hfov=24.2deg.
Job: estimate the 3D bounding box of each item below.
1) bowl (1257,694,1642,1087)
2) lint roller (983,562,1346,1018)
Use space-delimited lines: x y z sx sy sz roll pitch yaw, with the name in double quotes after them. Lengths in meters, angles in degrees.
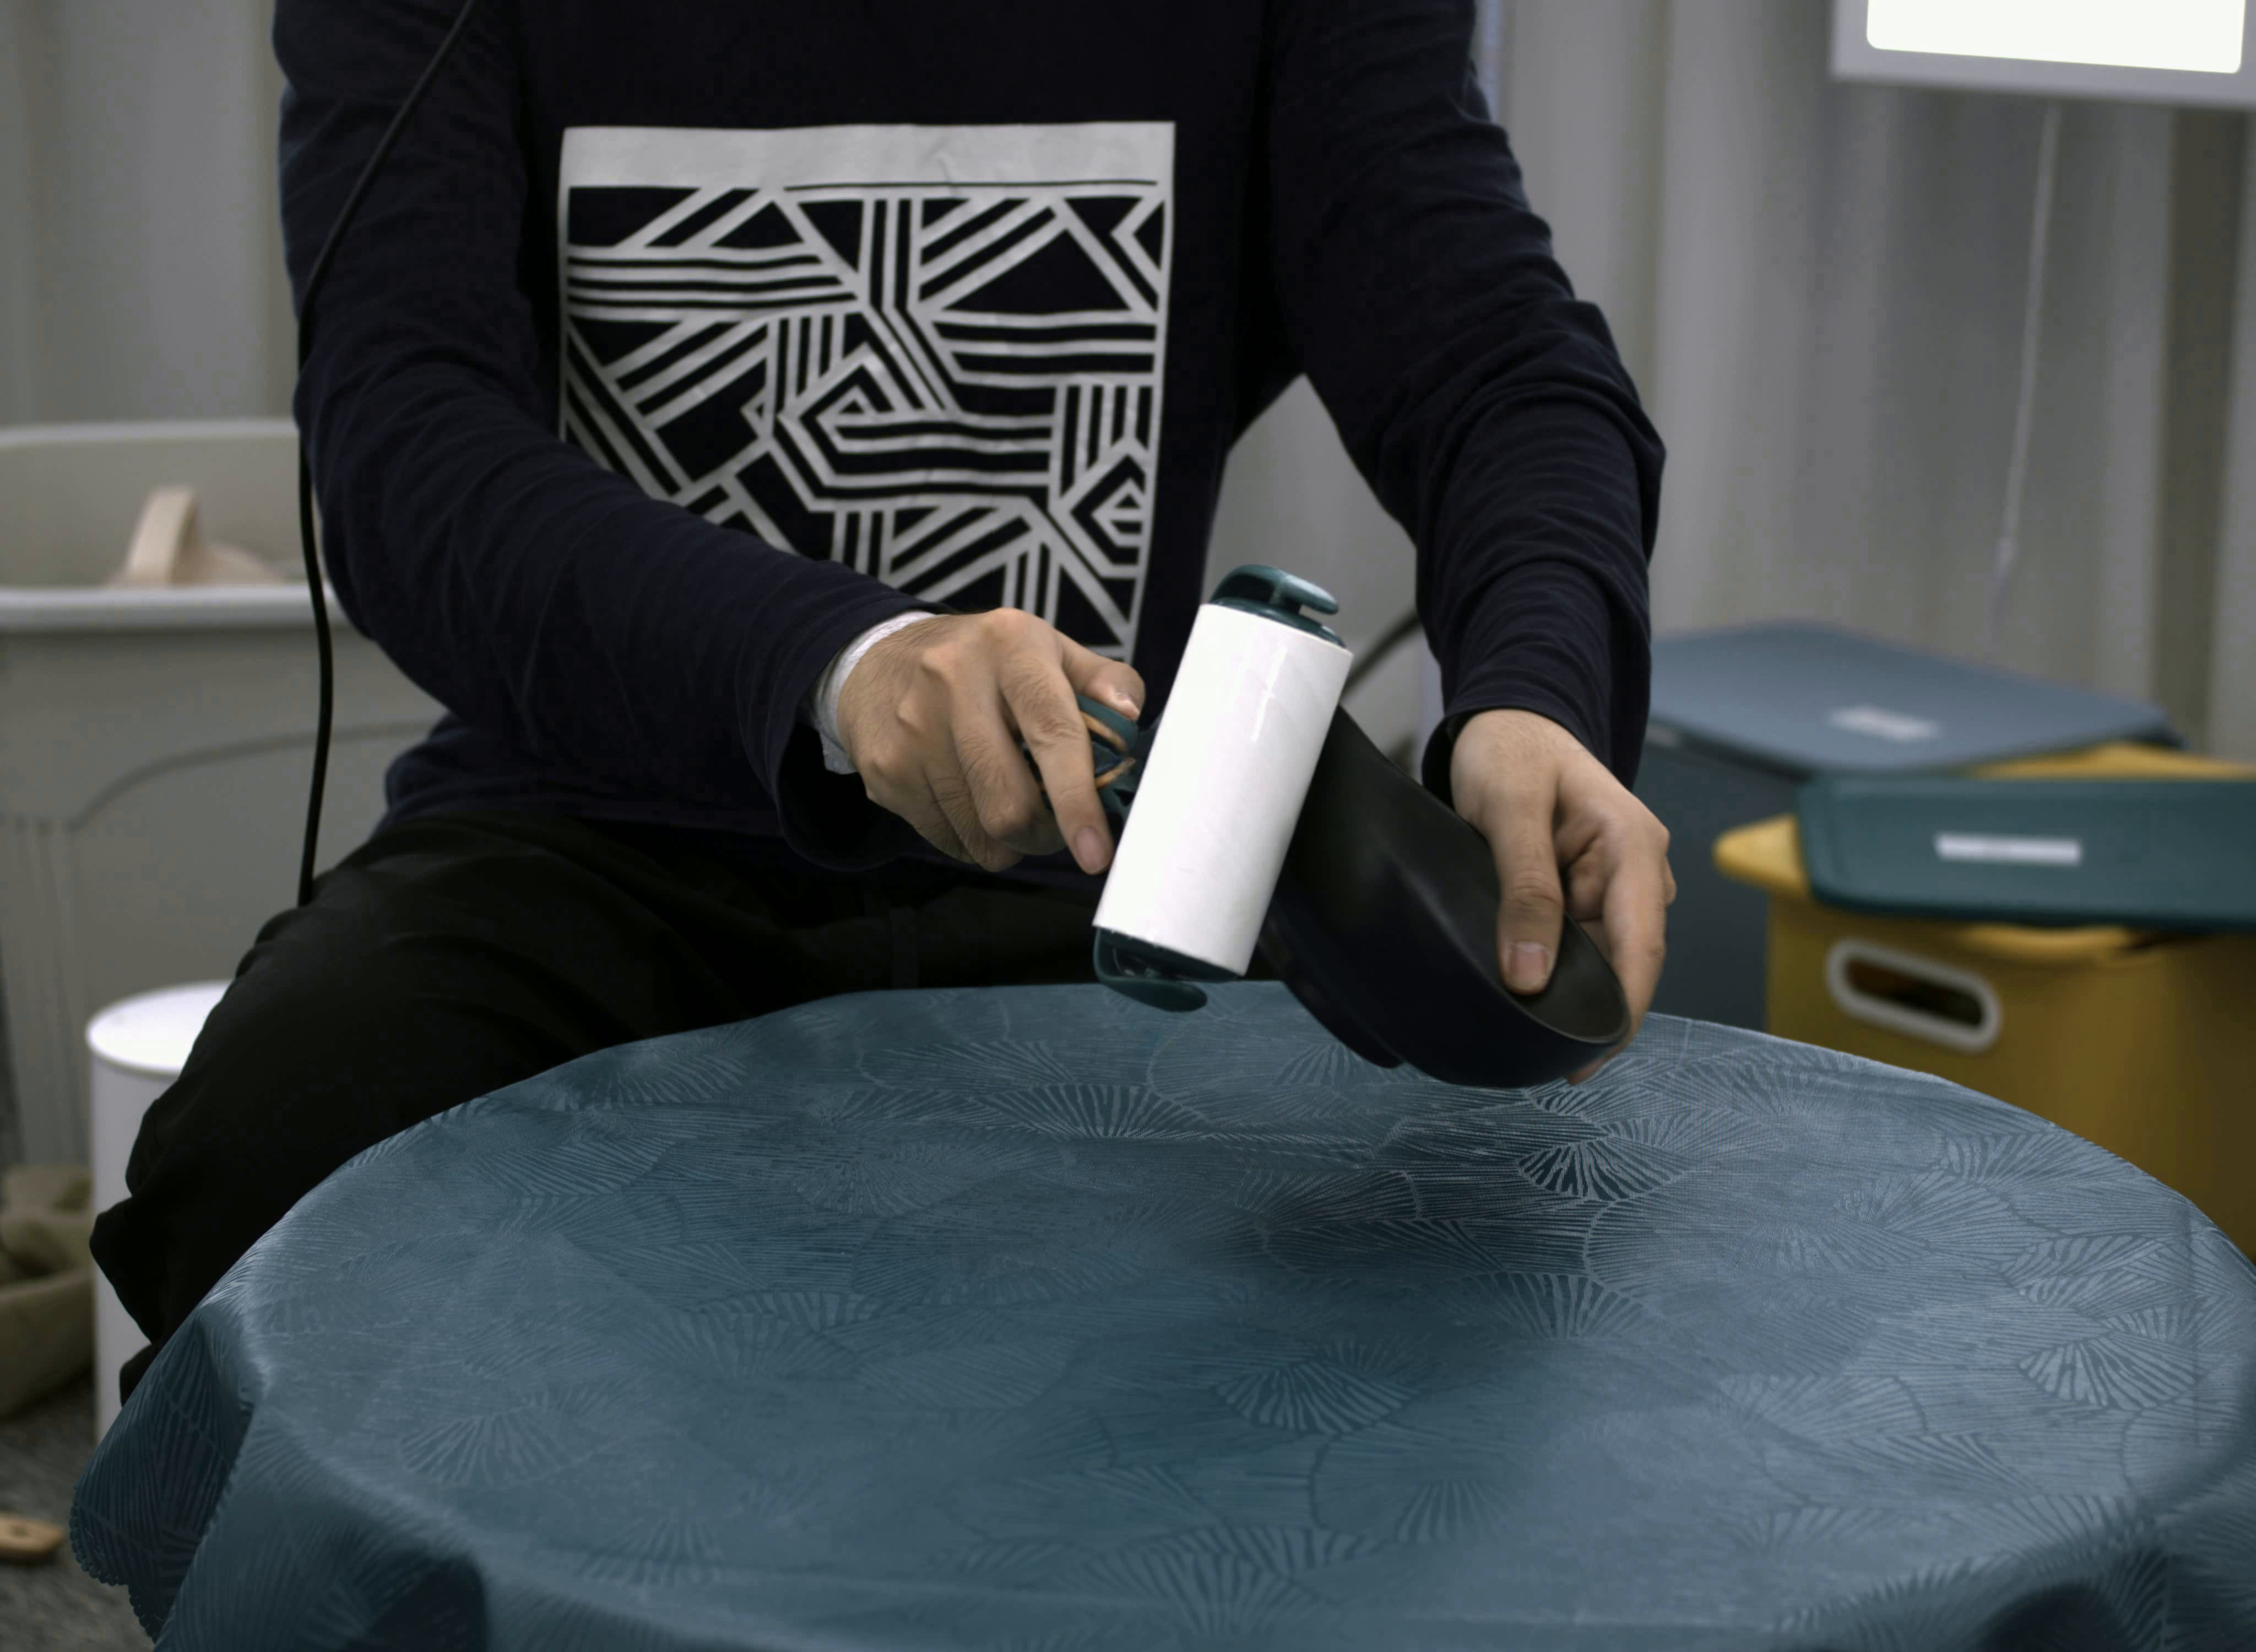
0.082 0.028 1.581 0.139 0.066 0.168 42 13 -23 "bowl"
-0.010 -0.019 1.579 0.049 0.134 0.178 20 -3 -35 "lint roller"
